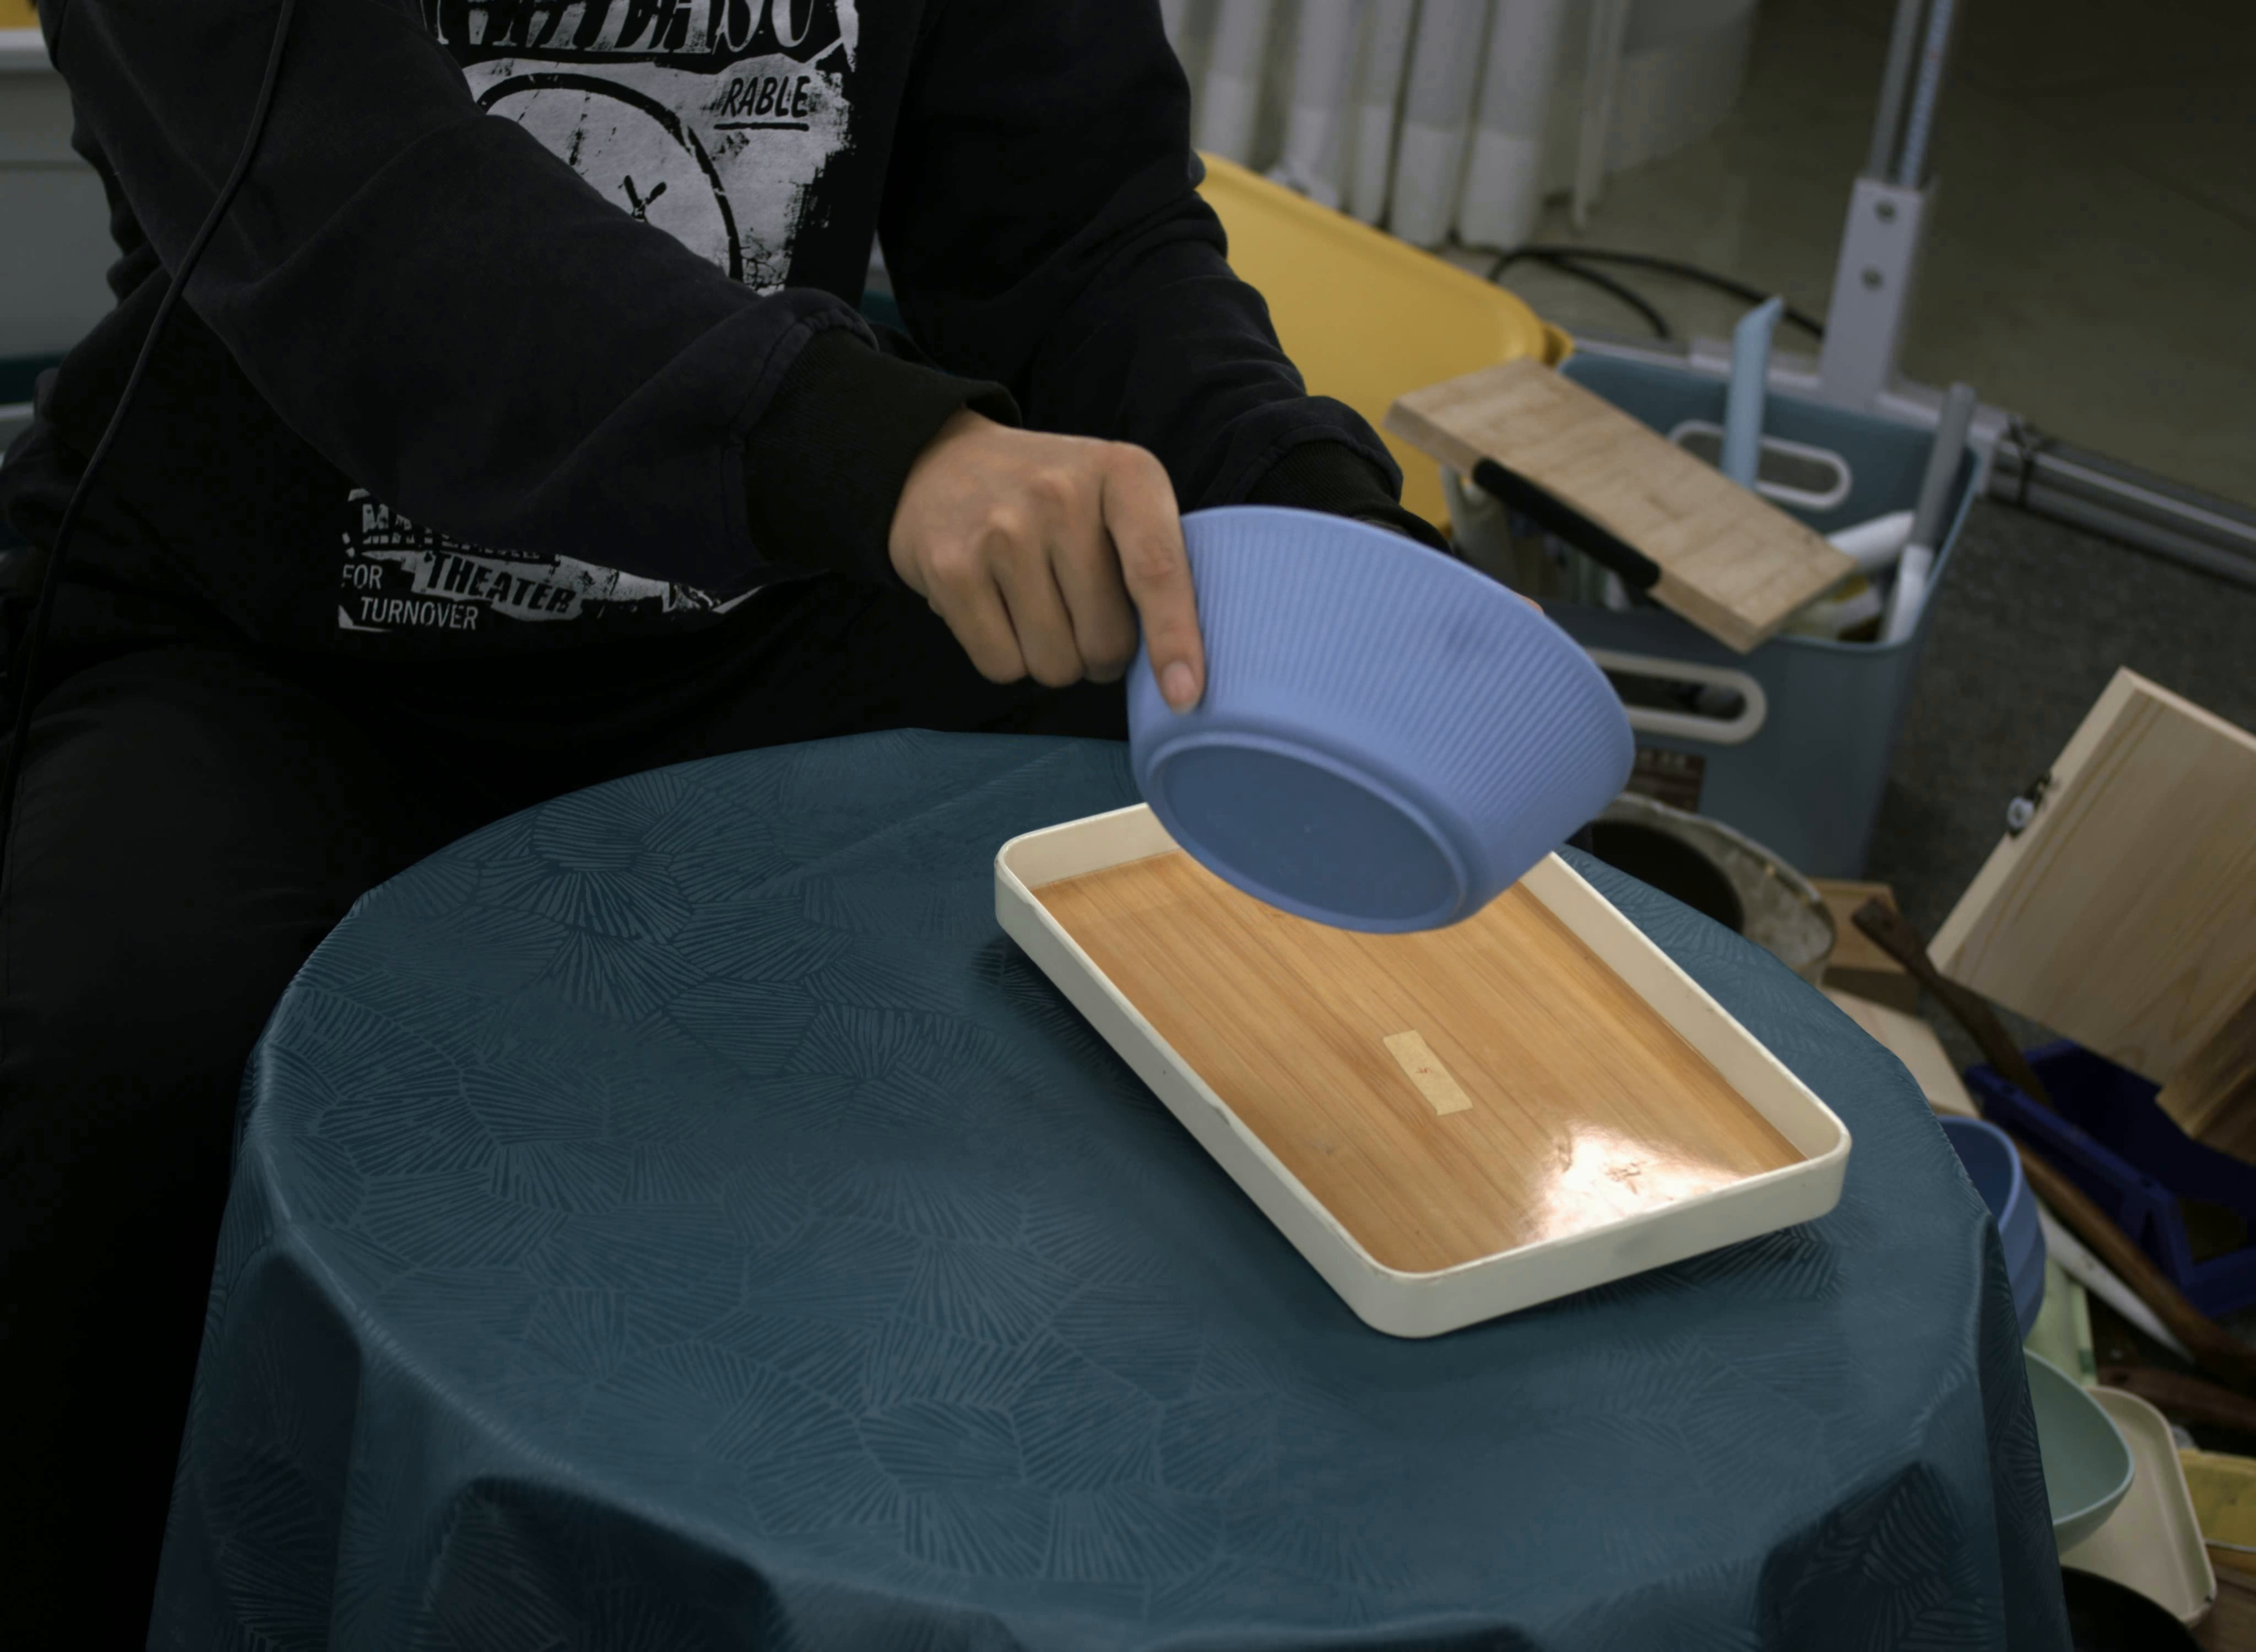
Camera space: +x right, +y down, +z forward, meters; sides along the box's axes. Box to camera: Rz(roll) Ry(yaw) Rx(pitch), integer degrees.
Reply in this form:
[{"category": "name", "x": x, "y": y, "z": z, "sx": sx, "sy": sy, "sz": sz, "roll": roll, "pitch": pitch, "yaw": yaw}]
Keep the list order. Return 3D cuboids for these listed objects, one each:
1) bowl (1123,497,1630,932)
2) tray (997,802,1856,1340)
[{"category": "bowl", "x": 0.067, "y": -0.025, "z": 1.698, "sx": 0.176, "sy": 0.175, "sz": 0.070, "roll": 17, "pitch": 62, "yaw": 18}, {"category": "tray", "x": 0.099, "y": 0.069, "z": 1.870, "sx": 0.190, "sy": 0.027, "sz": 0.303, "roll": -14, "pitch": 35, "yaw": -24}]
